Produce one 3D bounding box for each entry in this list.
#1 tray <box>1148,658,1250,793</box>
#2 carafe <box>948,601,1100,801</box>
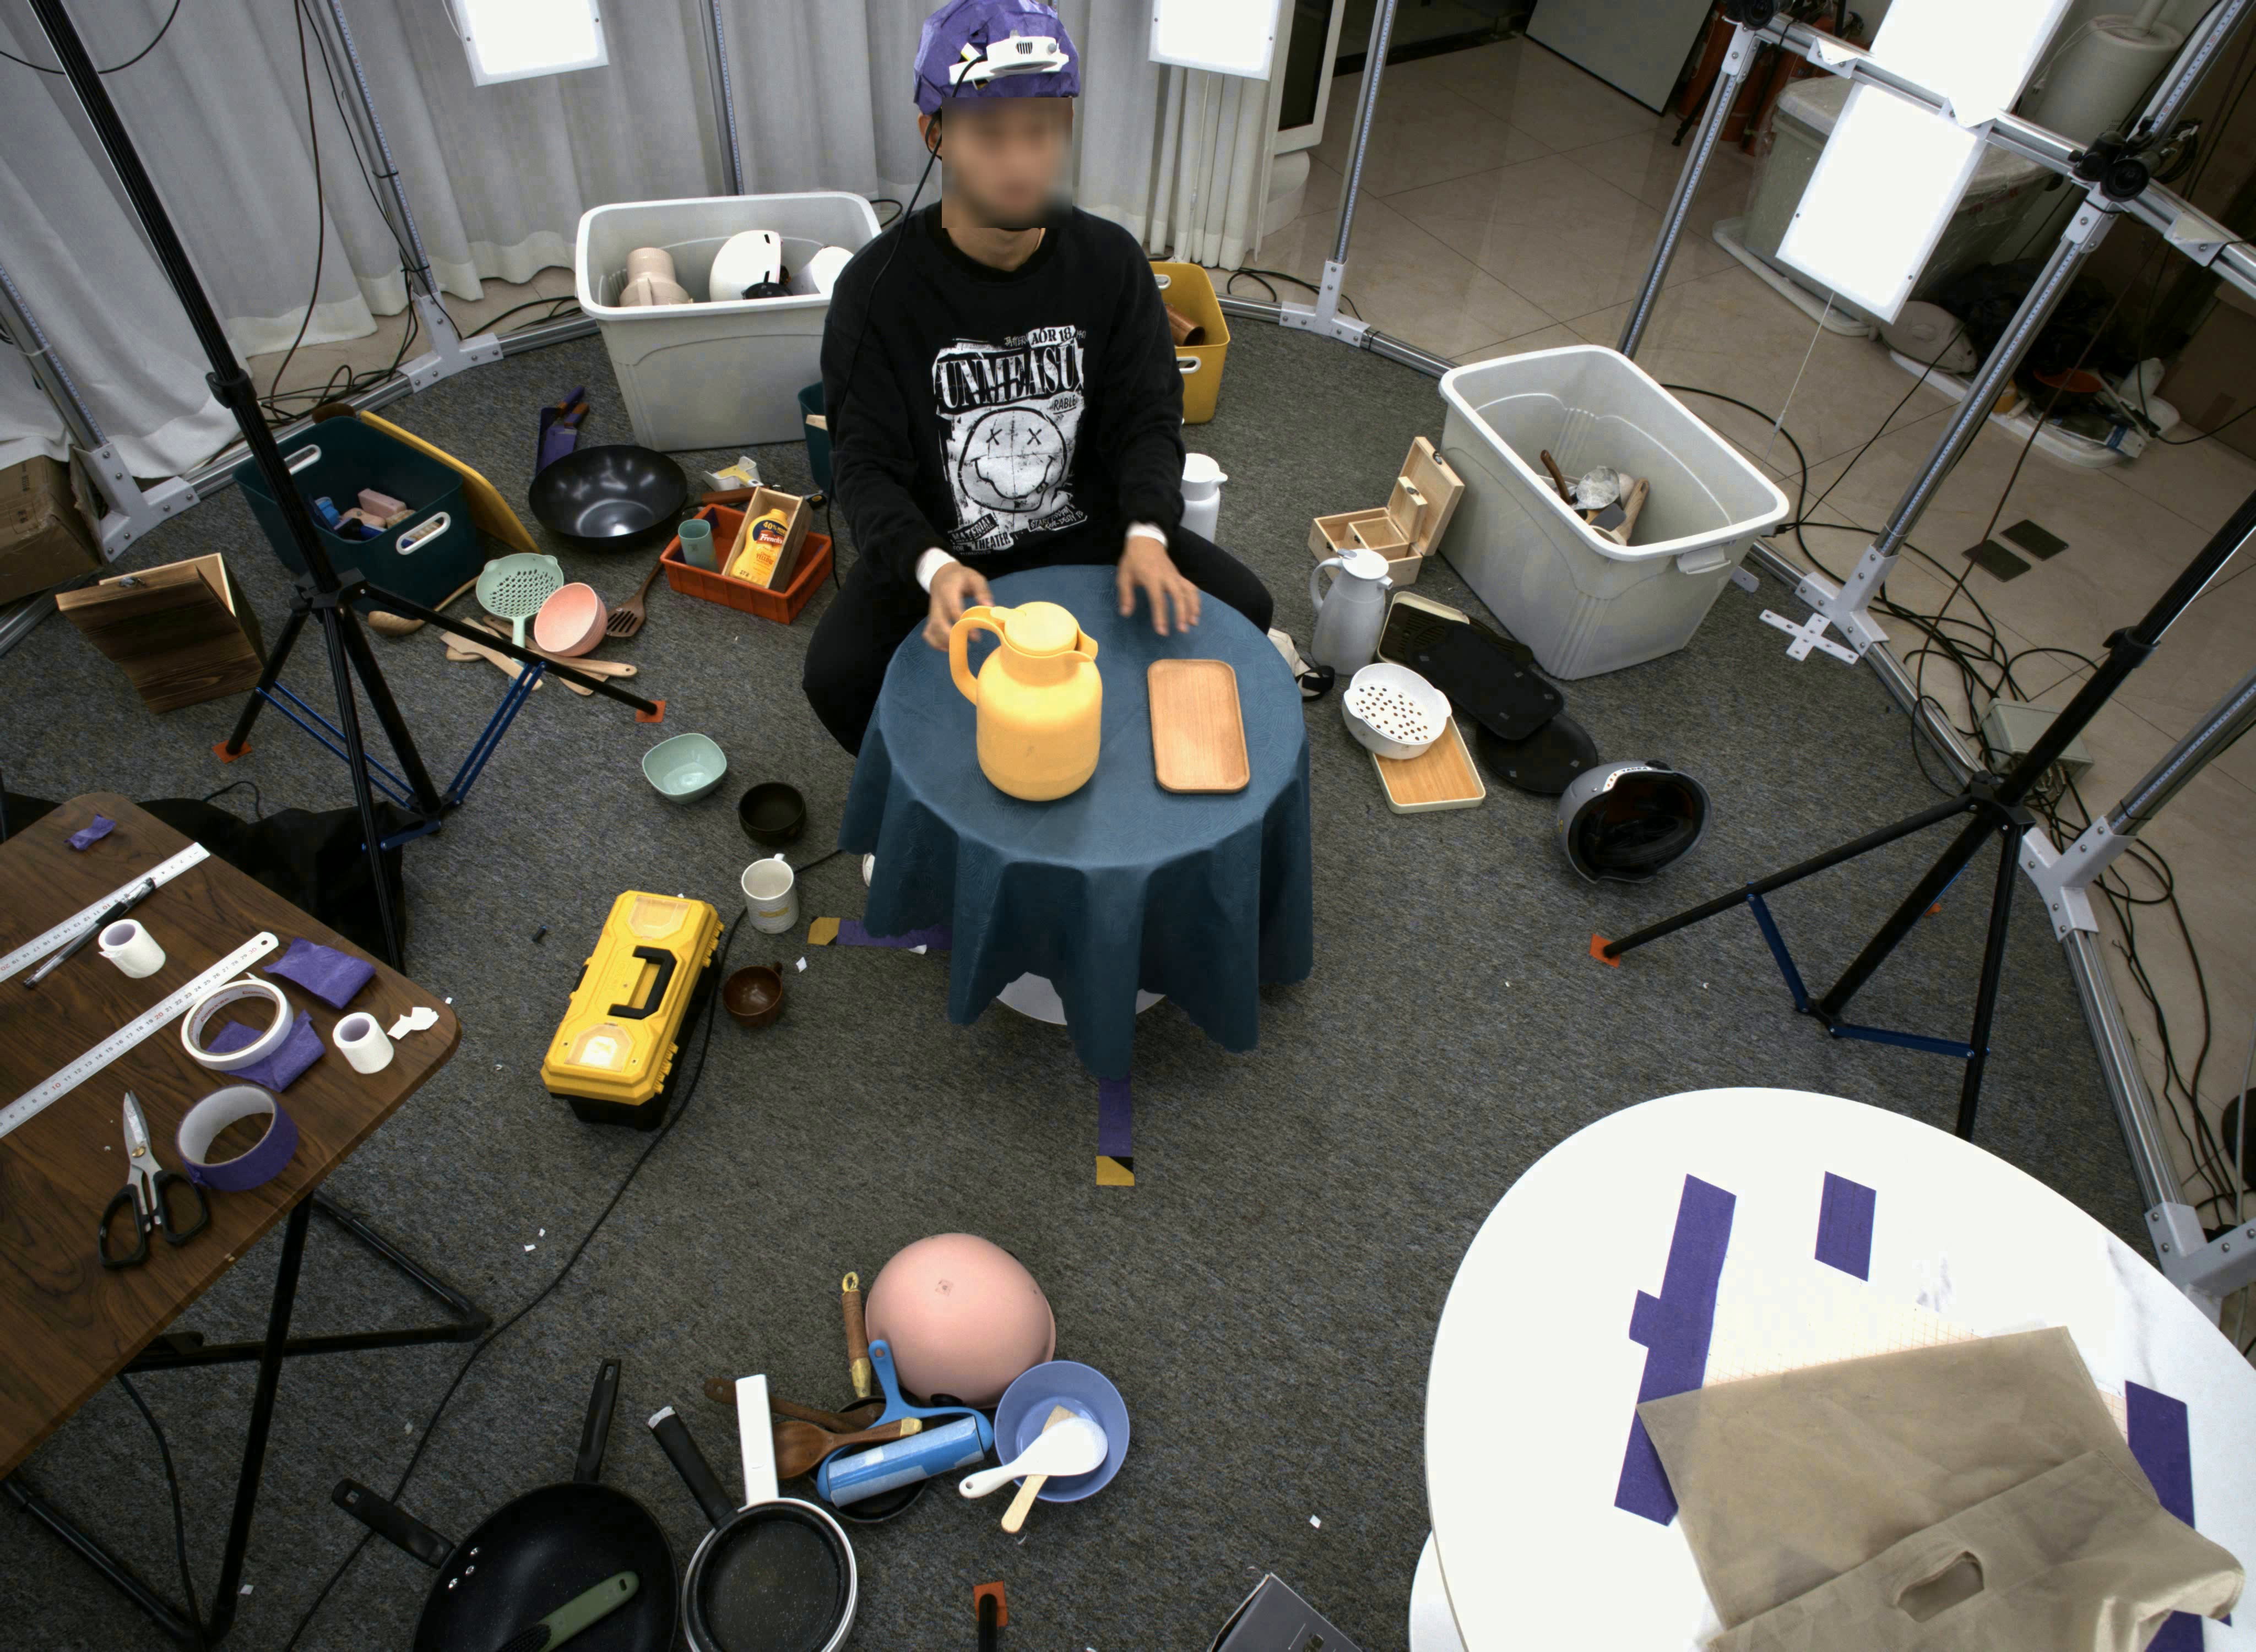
[{"bbox_3d":[0.096,-0.143,1.788,0.130,0.022,0.257,2,48,-5],"label":"tray"},{"bbox_3d":[-0.134,-0.172,1.640,0.203,0.254,0.166,24,49,13],"label":"carafe"}]
